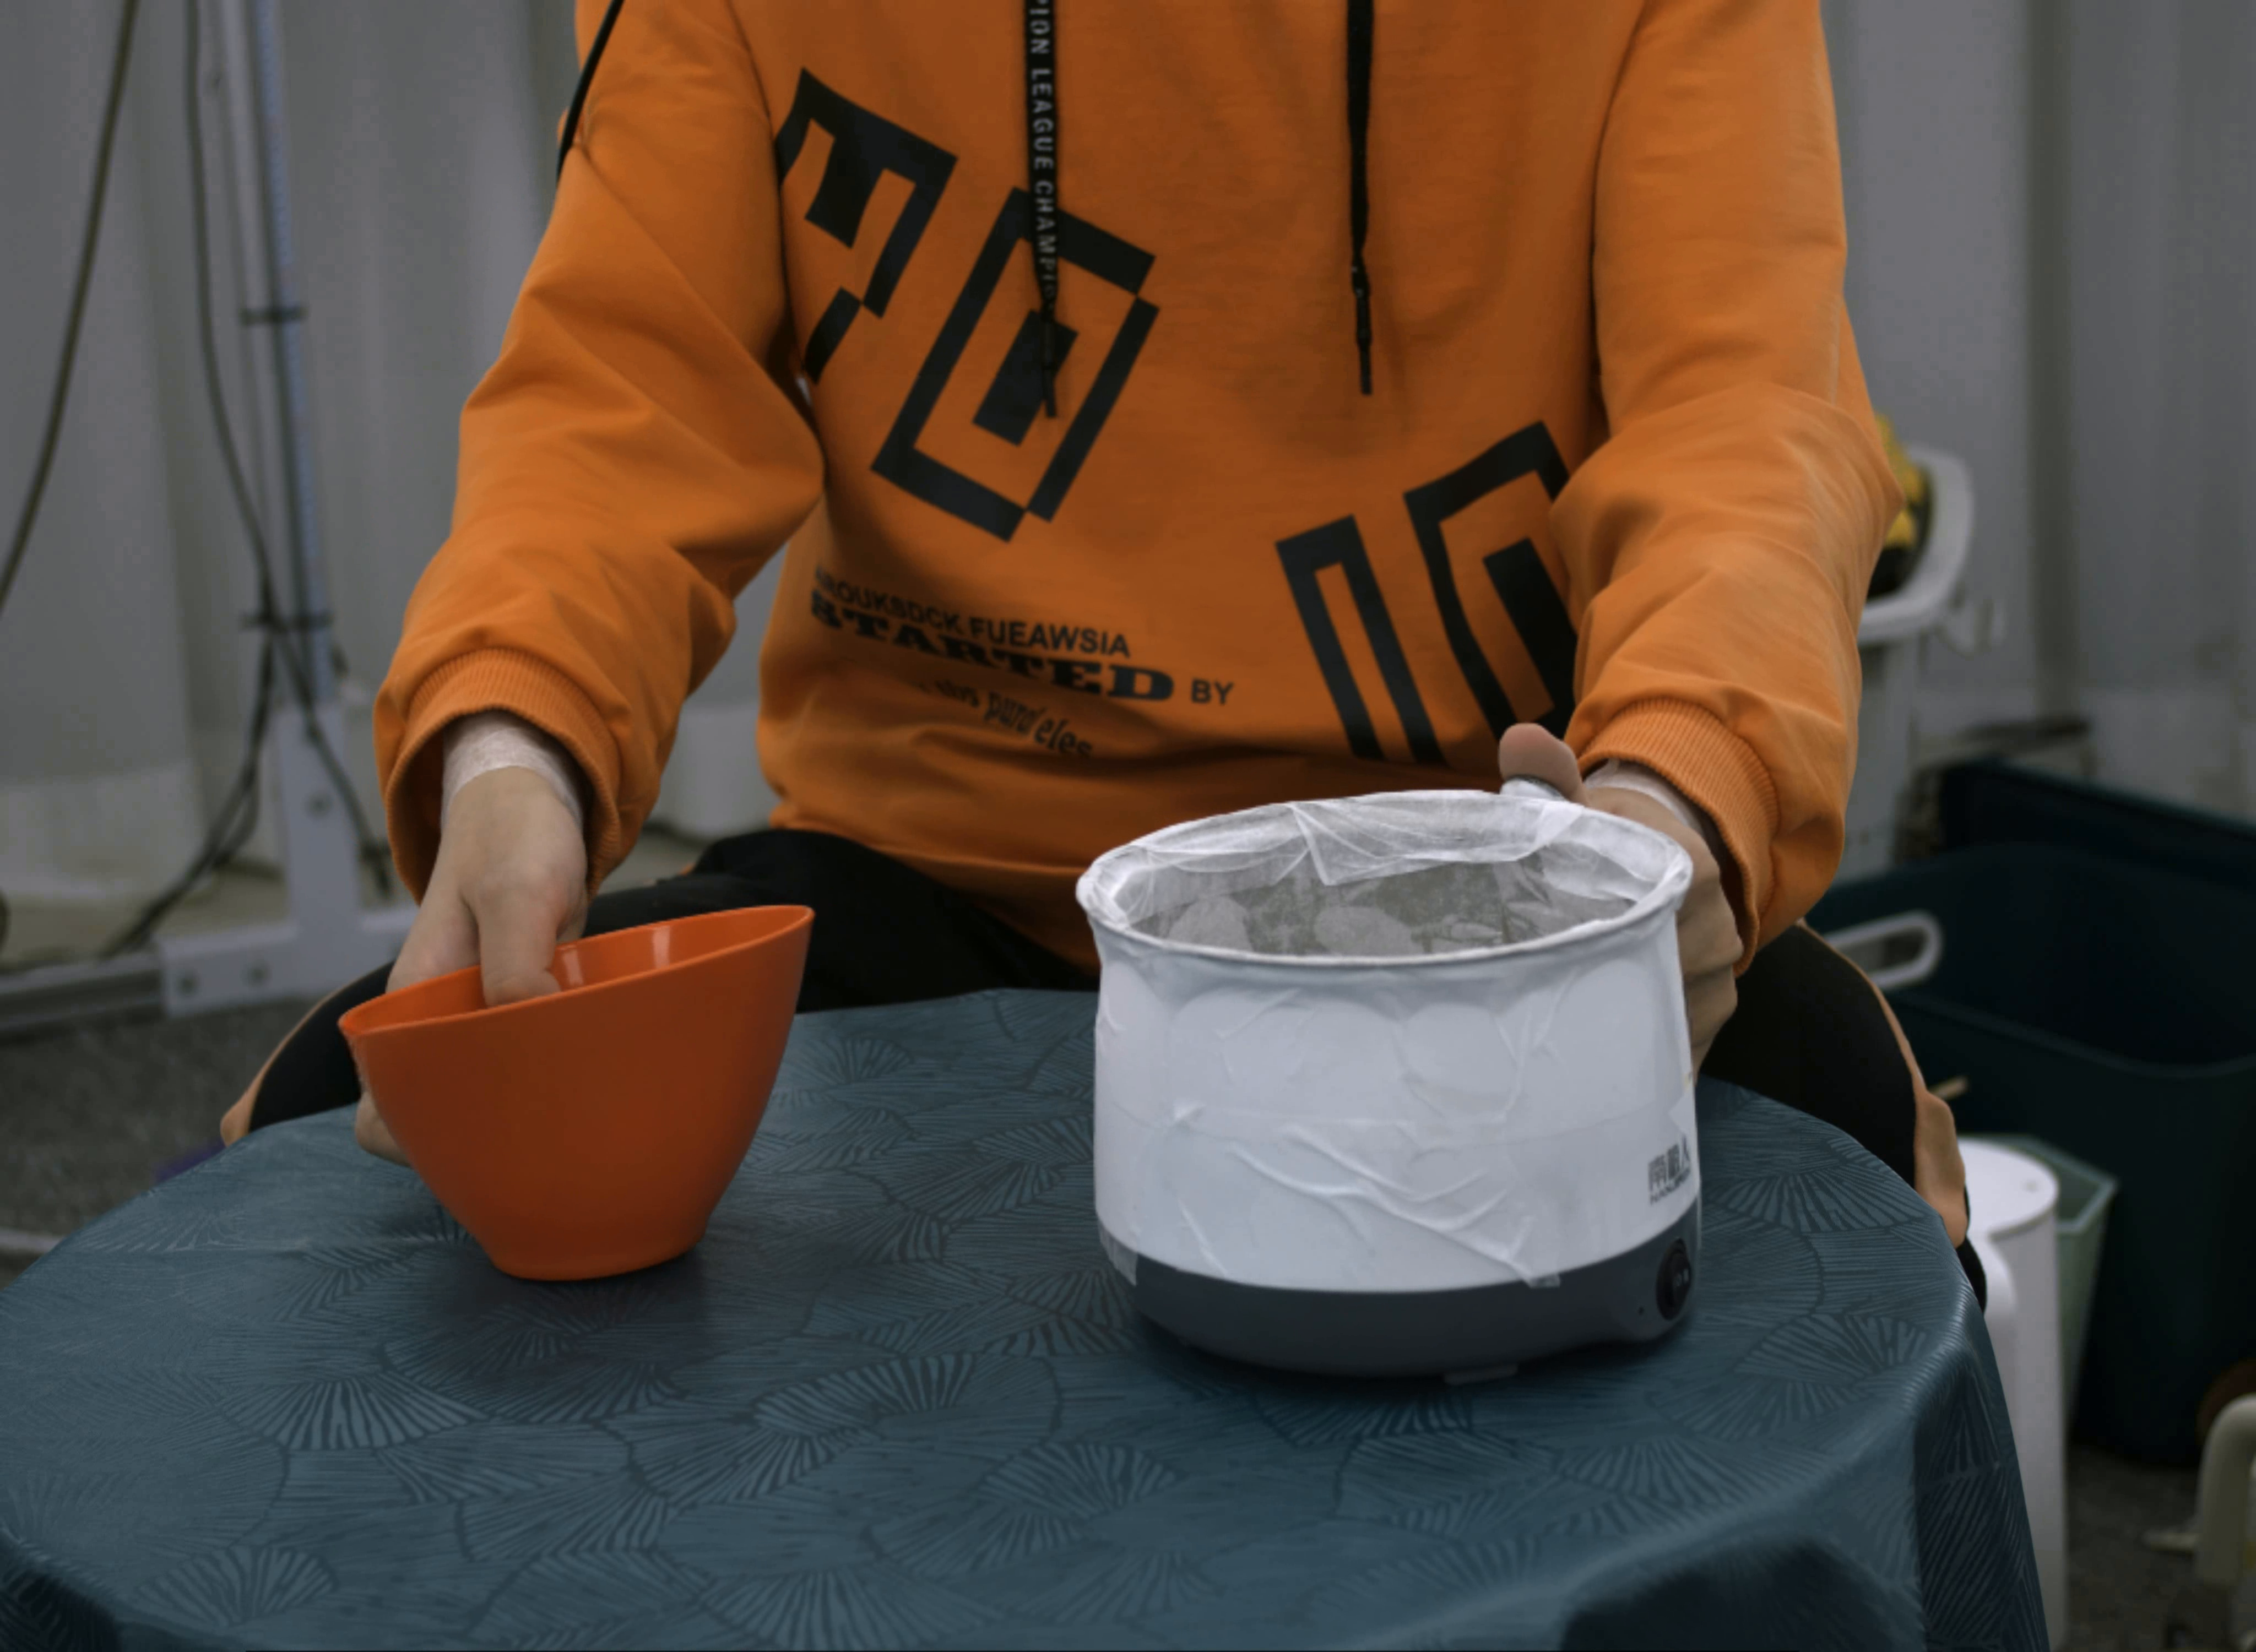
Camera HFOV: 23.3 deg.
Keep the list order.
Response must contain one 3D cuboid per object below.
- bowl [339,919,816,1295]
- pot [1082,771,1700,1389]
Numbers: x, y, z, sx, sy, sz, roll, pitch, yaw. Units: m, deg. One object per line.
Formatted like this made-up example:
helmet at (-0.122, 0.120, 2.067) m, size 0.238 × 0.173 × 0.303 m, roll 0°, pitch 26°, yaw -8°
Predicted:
bowl at (-0.162, 0.085, 1.665) m, size 0.147 × 0.104 × 0.149 m, roll -7°, pitch 11°, yaw 1°
pot at (0.089, 0.068, 1.609) m, size 0.179 × 0.136 × 0.234 m, roll 5°, pitch 17°, yaw 26°
